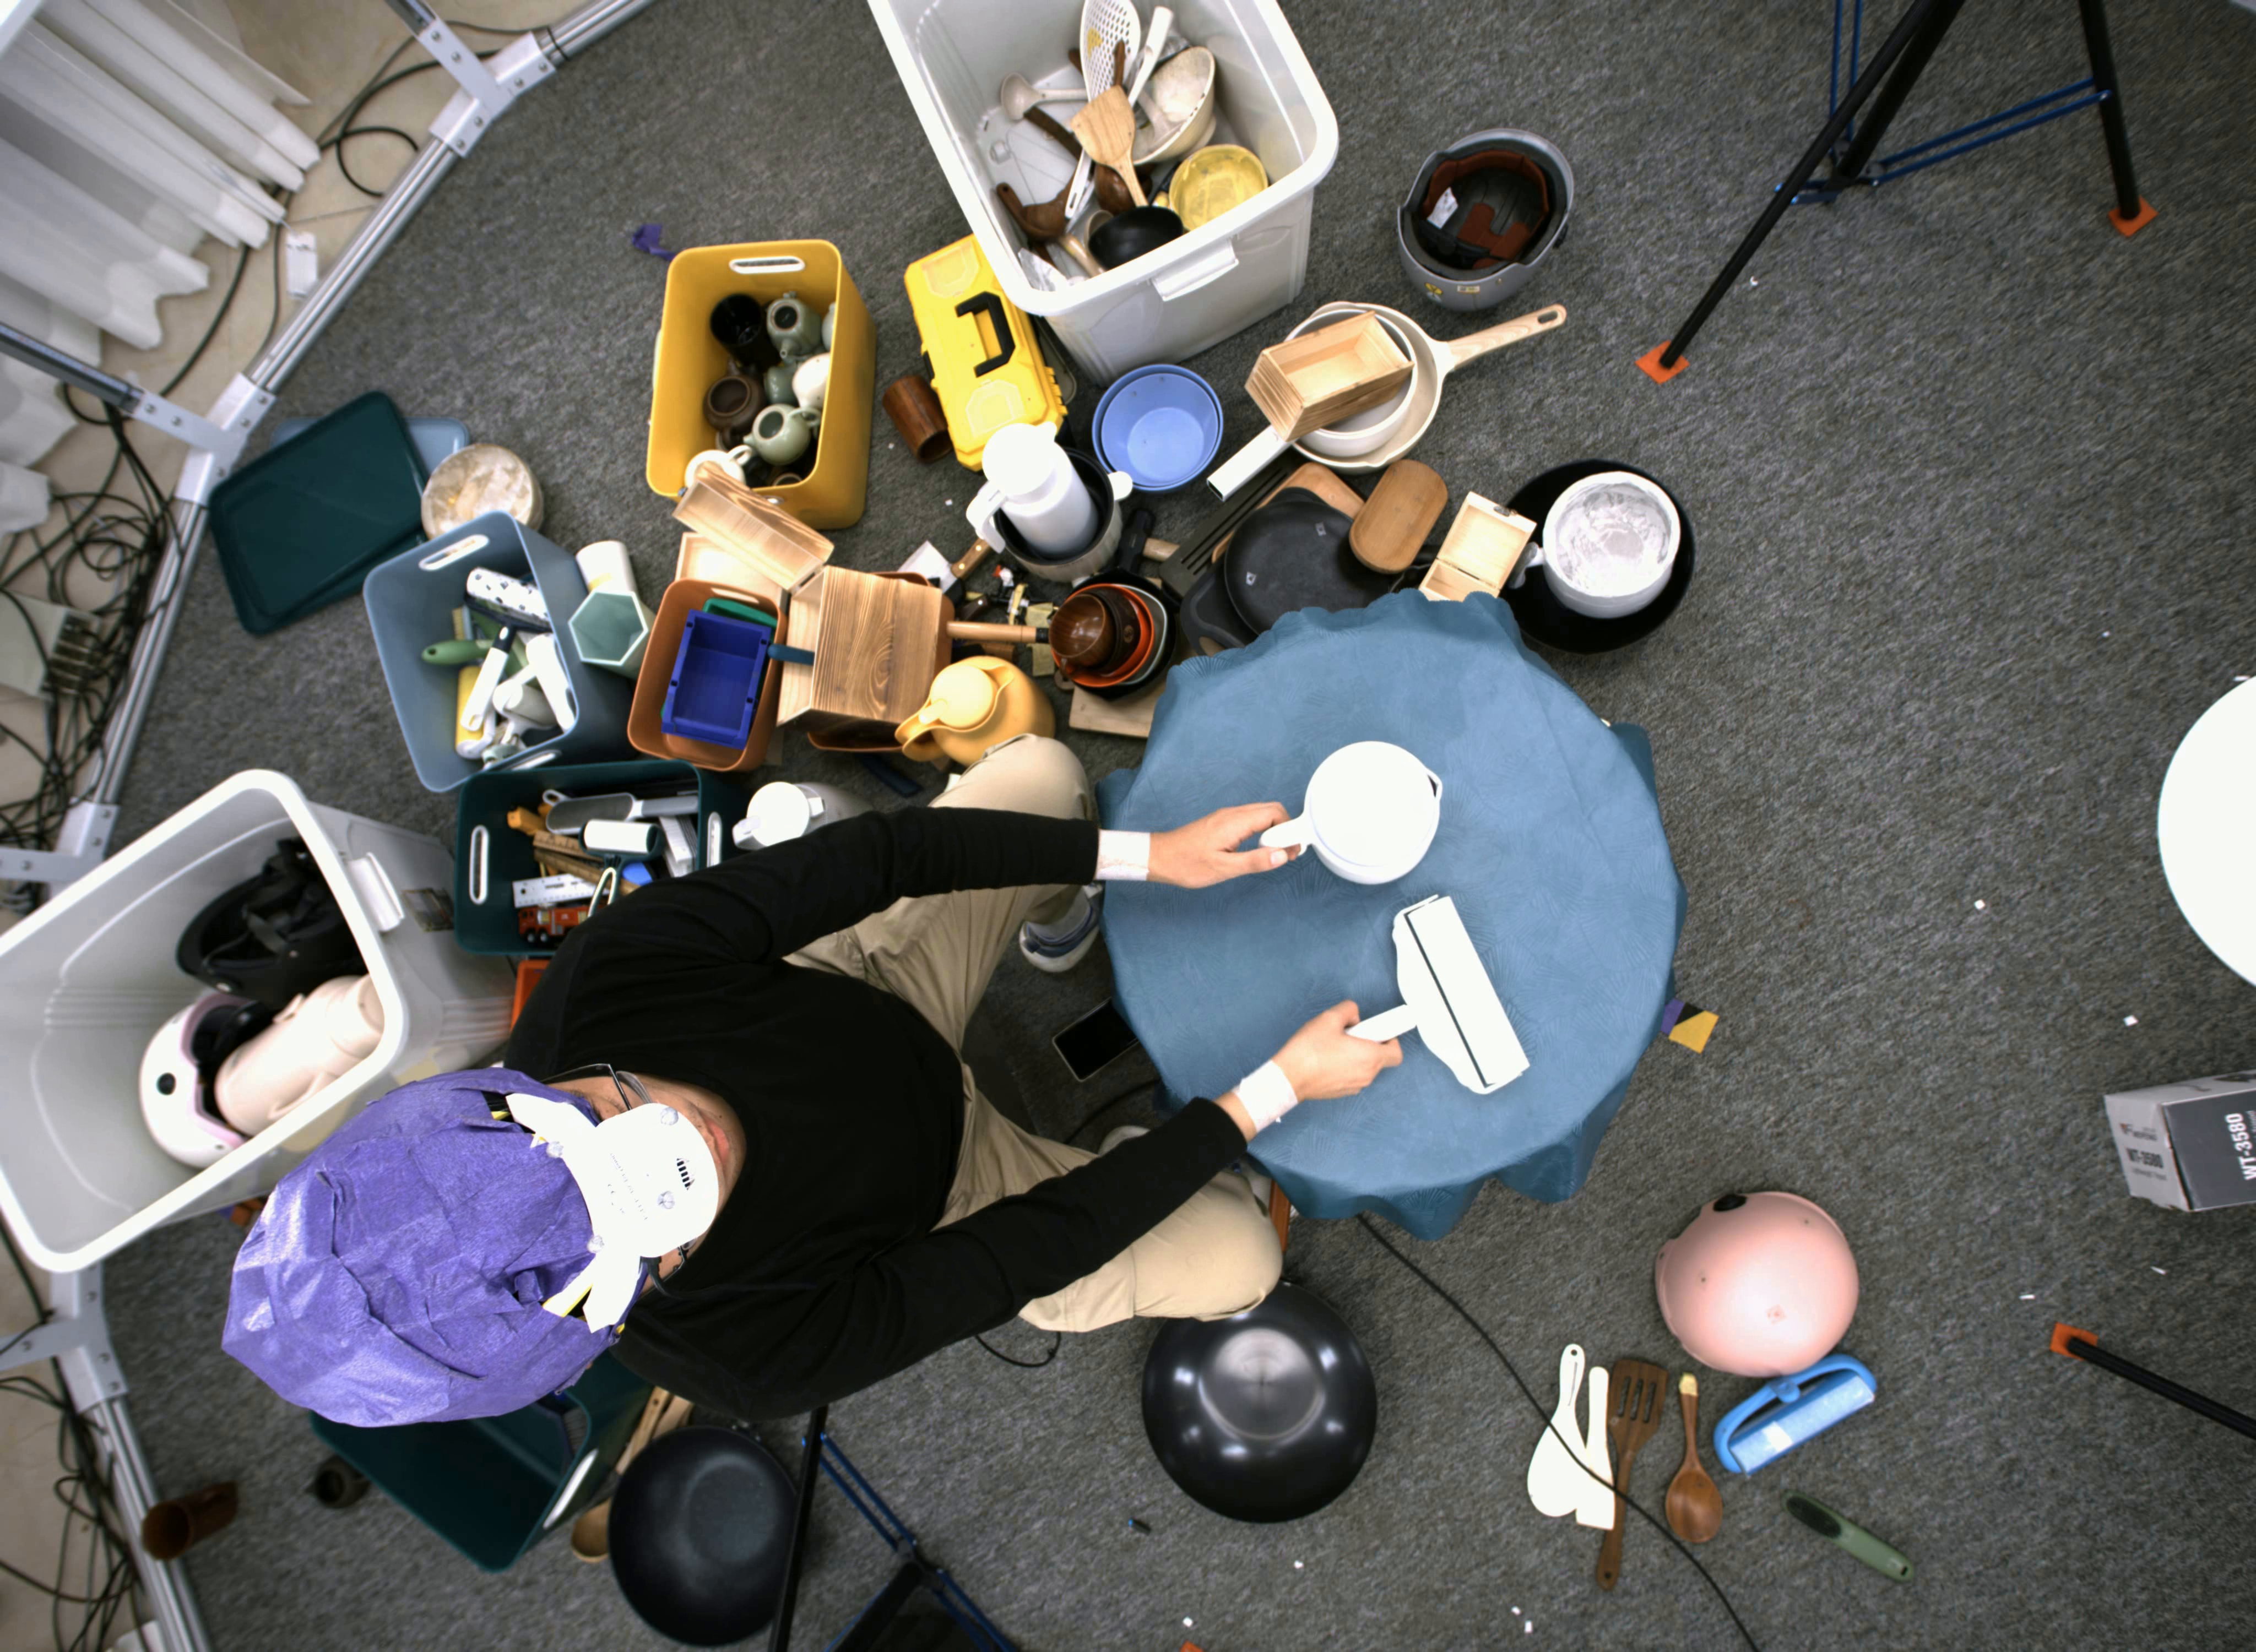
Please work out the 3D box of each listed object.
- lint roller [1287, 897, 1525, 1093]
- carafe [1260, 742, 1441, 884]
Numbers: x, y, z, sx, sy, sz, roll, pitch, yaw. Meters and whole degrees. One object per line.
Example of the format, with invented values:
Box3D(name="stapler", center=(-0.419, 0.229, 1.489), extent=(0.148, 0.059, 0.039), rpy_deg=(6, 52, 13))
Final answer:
Box3D(name="lint roller", center=(0.266, 0.203, 1.414), extent=(0.225, 0.048, 0.201), rpy_deg=(-24, 84, -2))
Box3D(name="carafe", center=(0.221, -0.004, 1.386), extent=(0.192, 0.182, 0.131), rpy_deg=(-20, 81, 10))
